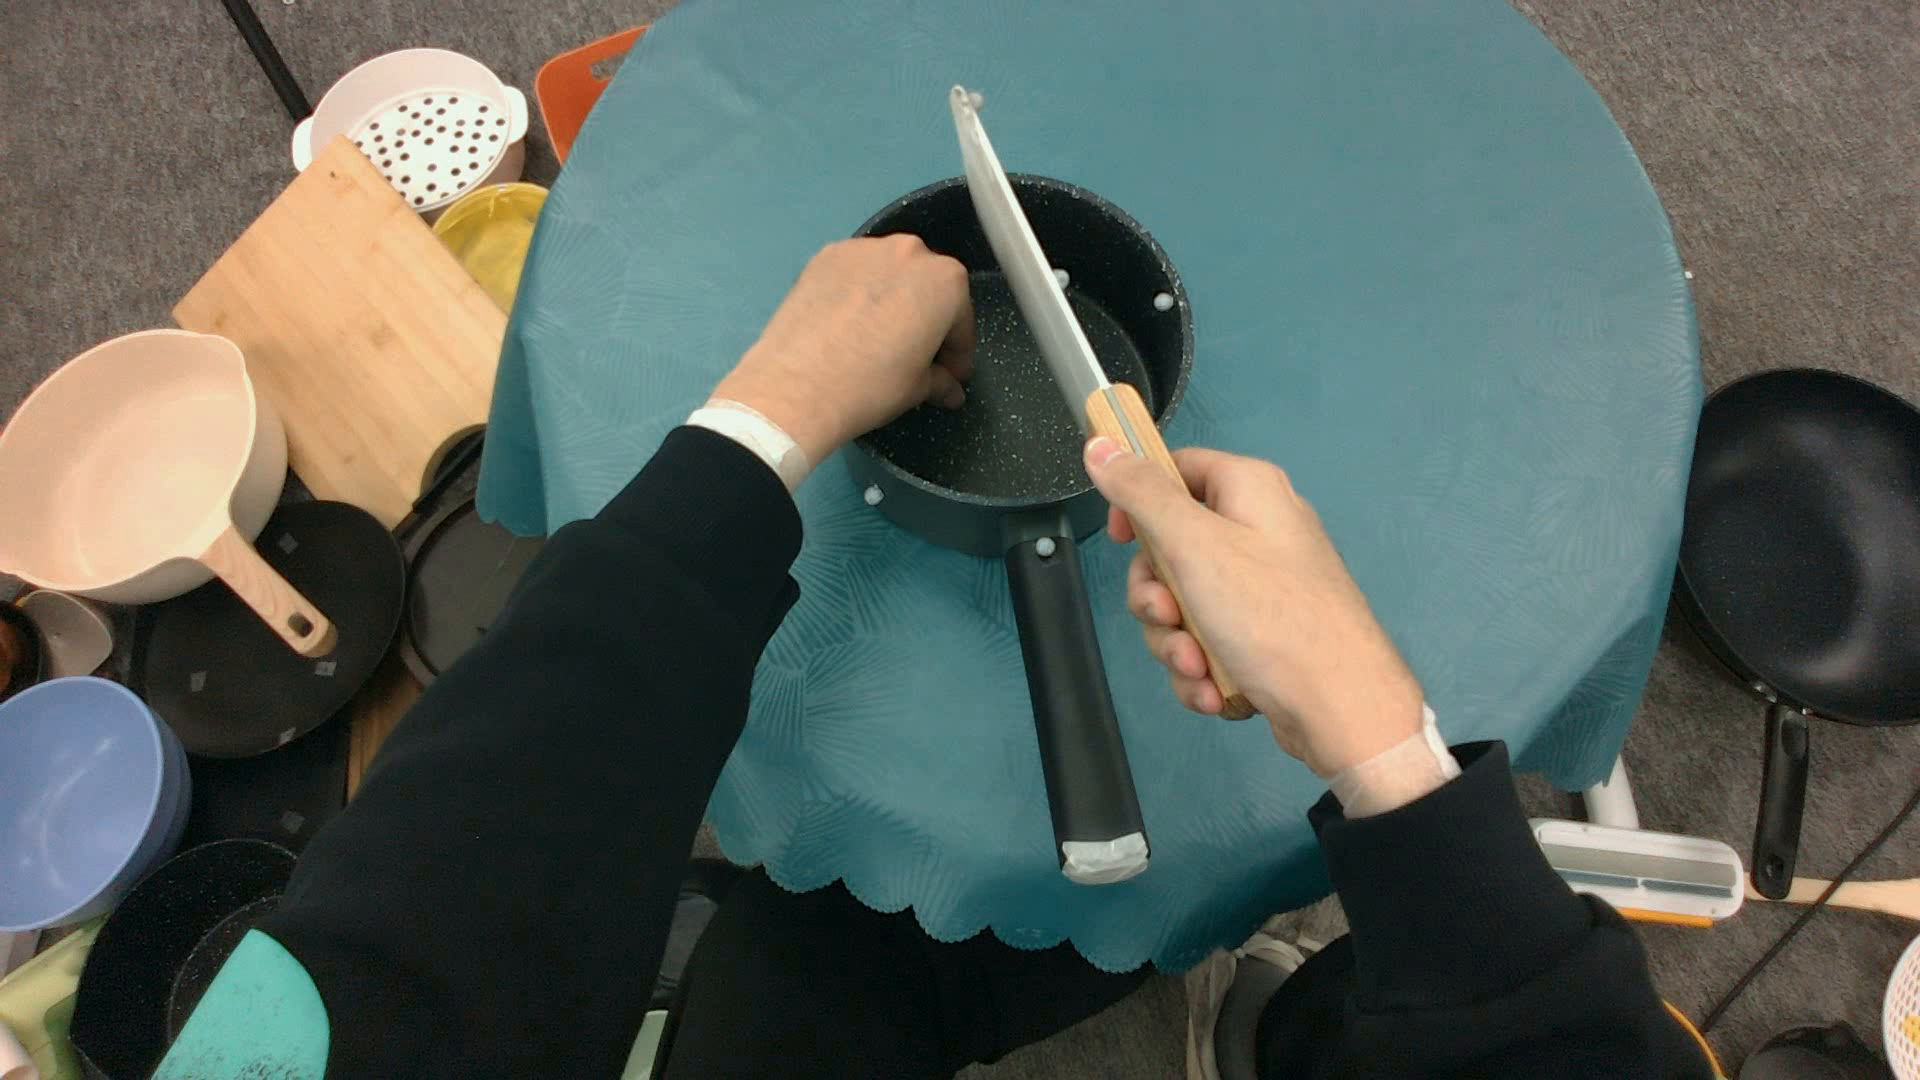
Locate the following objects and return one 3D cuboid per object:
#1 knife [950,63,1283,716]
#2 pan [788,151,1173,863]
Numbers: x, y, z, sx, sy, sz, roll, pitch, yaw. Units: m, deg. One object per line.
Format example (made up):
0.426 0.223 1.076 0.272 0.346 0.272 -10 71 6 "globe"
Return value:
0.048 -0.067 0.542 0.022 0.113 0.316 -21 56 -3 "knife"
0.019 -0.017 0.615 0.172 0.086 0.329 -7 67 -1 "pan"
